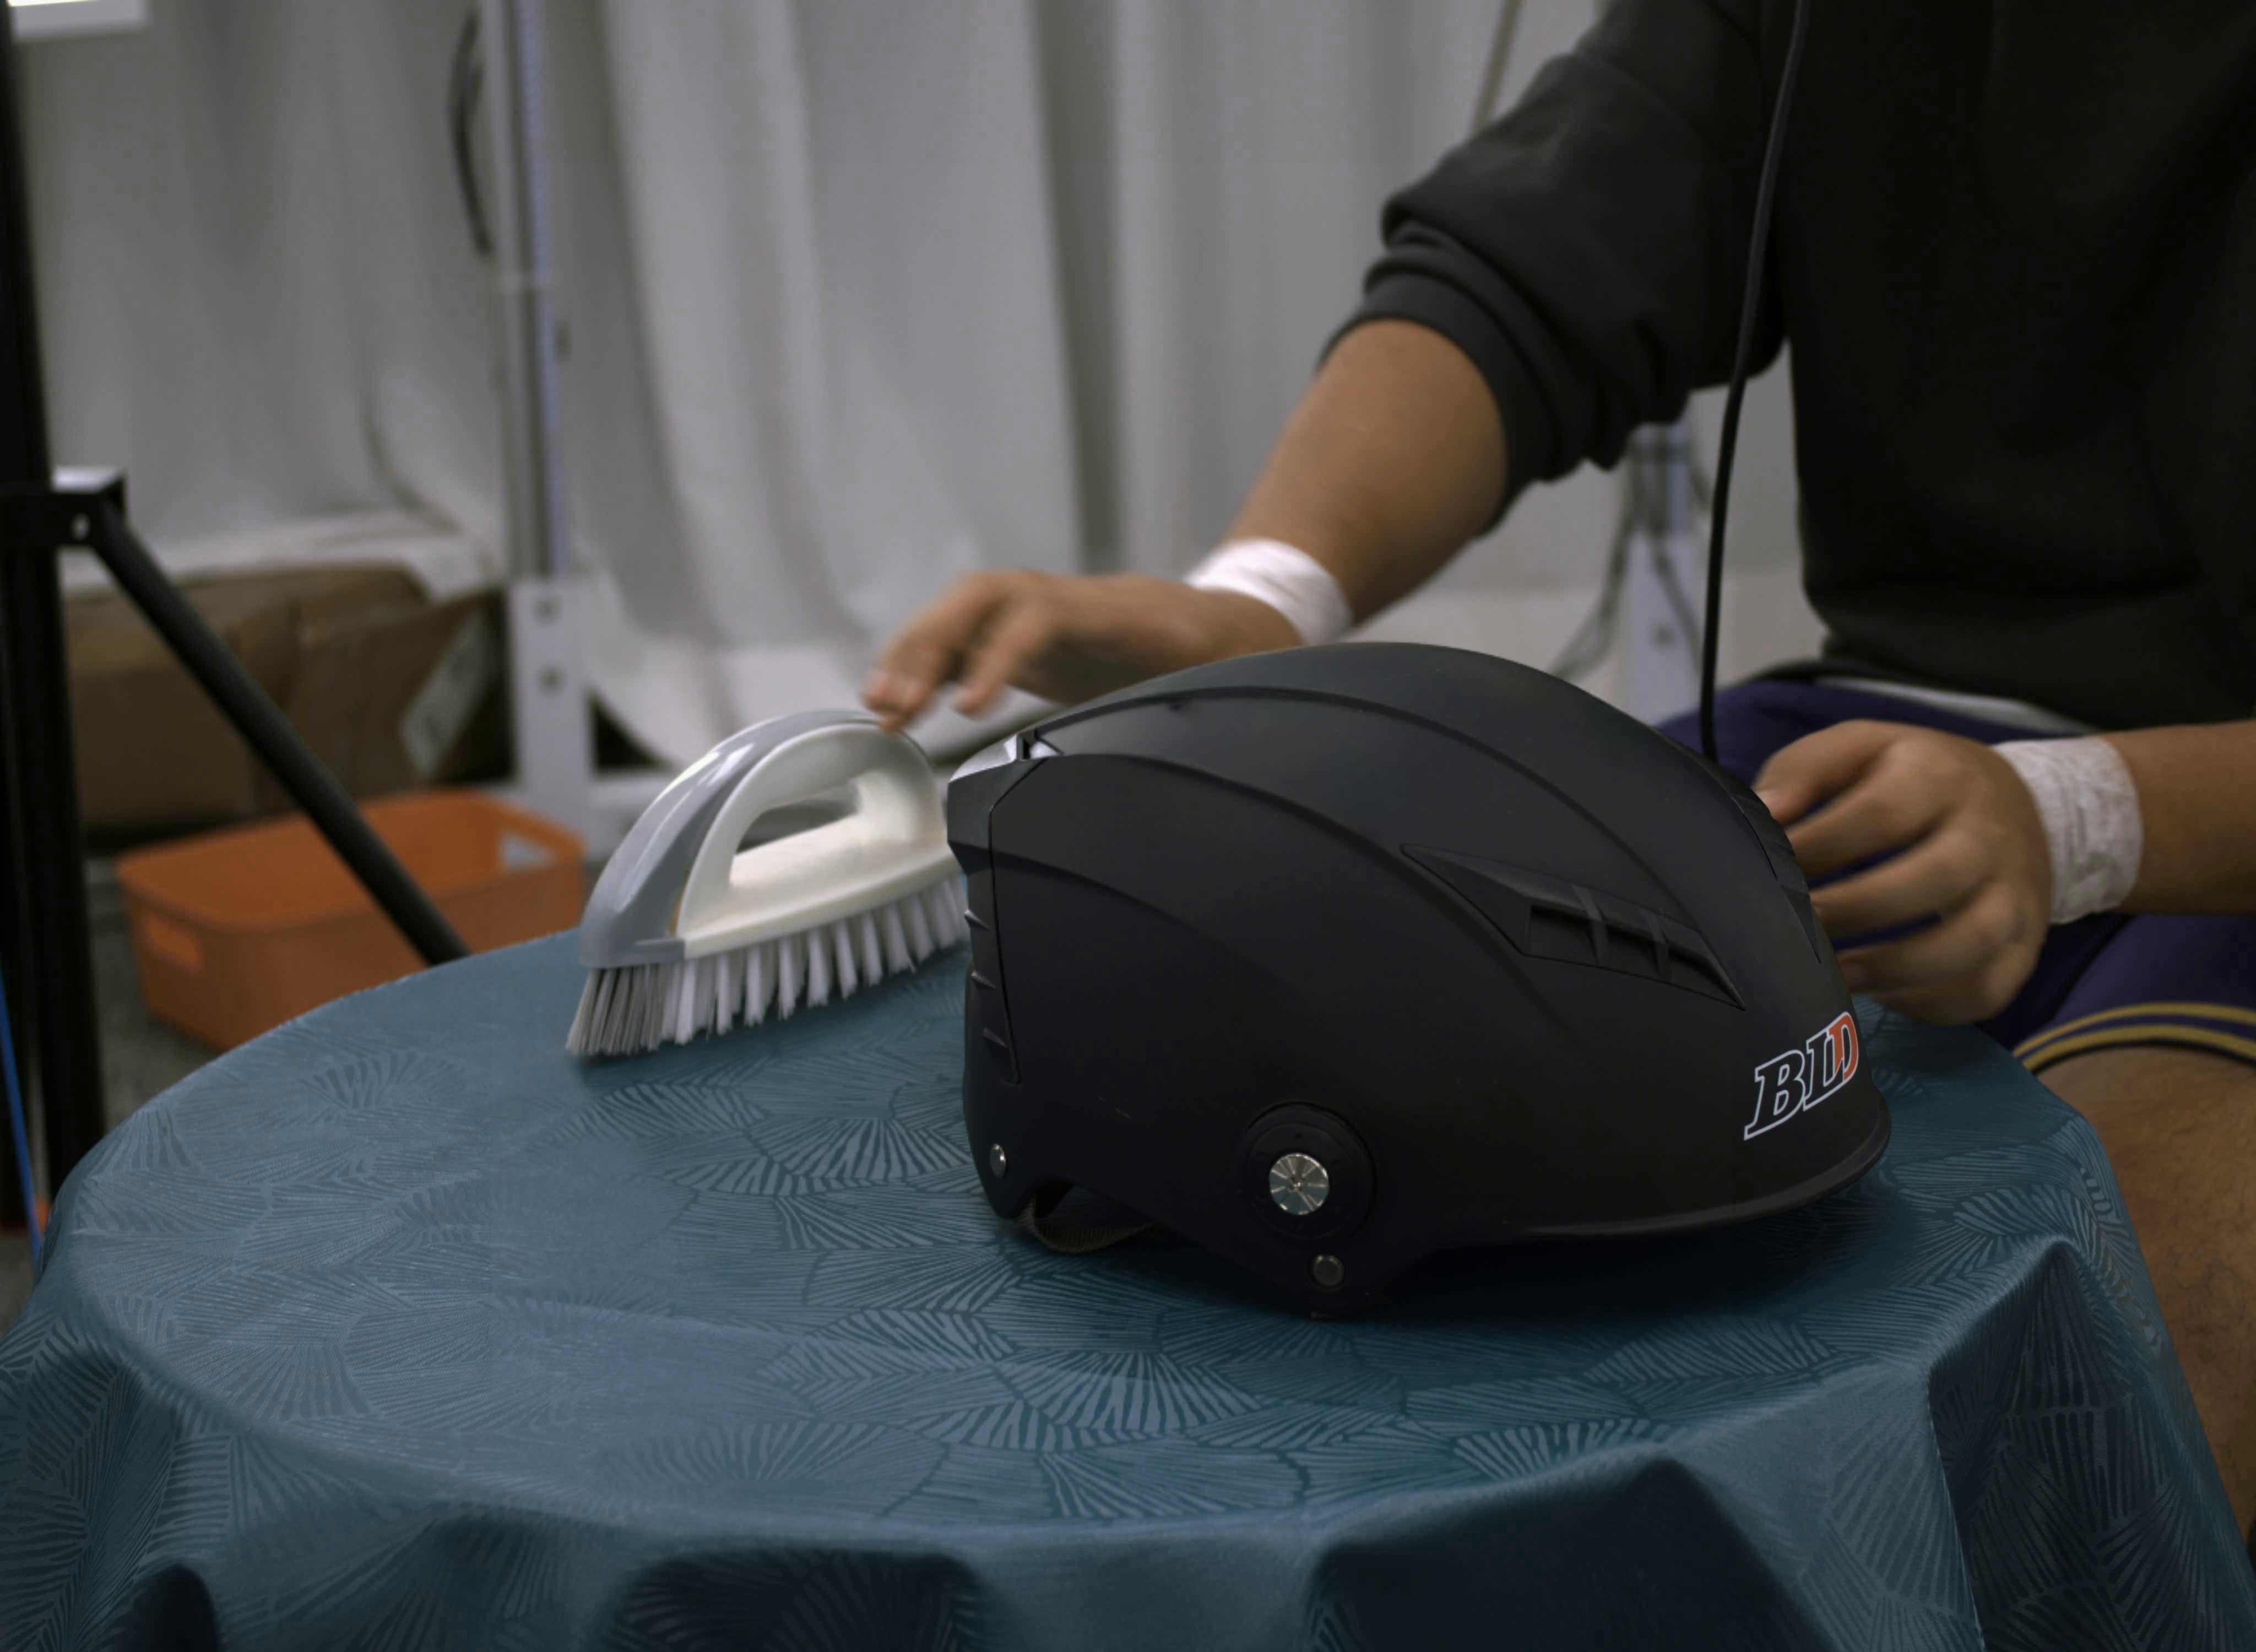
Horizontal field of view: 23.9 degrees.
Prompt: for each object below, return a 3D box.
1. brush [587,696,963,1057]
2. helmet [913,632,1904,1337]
[{"bbox_3d":[-0.120,0.013,1.751,0.063,0.094,0.172,8,21,38],"label":"brush"},{"bbox_3d":[0.077,0.032,1.527,0.282,0.172,0.242,4,17,36],"label":"helmet"}]
